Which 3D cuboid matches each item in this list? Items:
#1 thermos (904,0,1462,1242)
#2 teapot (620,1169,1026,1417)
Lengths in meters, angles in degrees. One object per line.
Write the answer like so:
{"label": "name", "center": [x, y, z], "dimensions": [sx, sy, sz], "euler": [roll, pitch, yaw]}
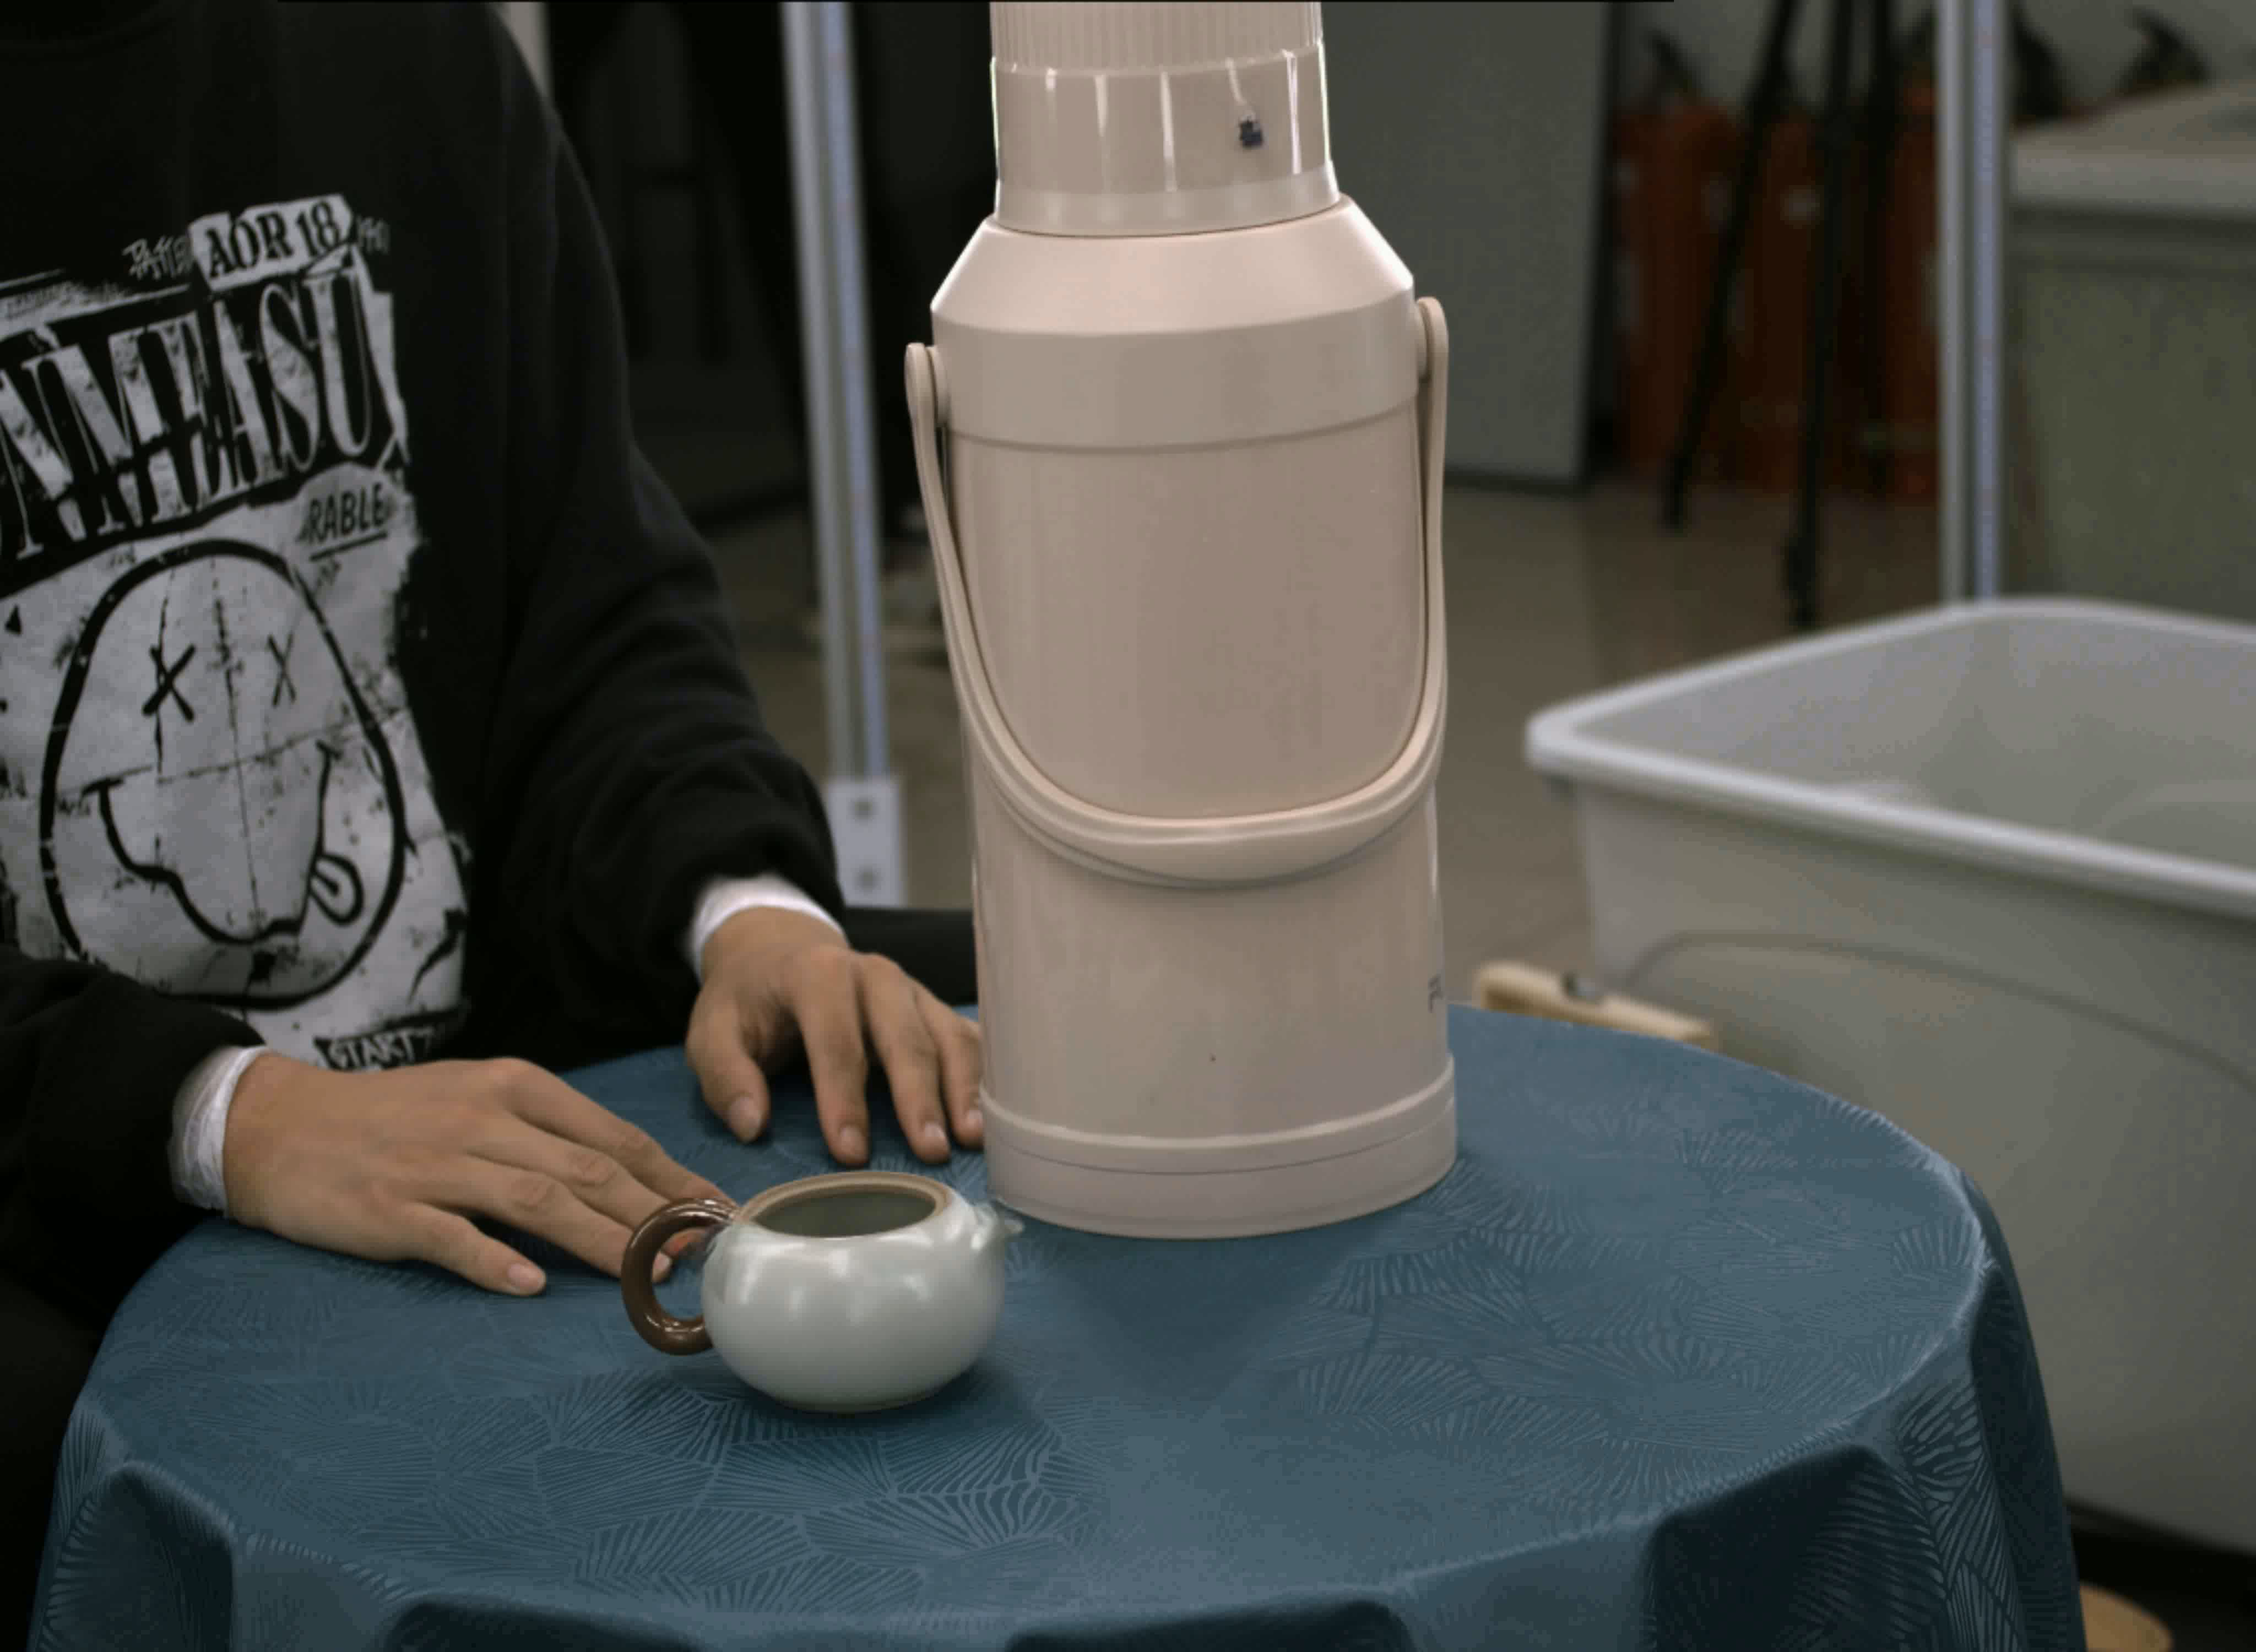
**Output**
{"label": "thermos", "center": [0.018, -0.084, 1.765], "dimensions": [0.172, 0.410, 0.208], "euler": [-8, 14, -9]}
{"label": "teapot", "center": [-0.090, 0.139, 1.609], "dimensions": [0.127, 0.060, 0.091], "euler": [0, 17, 13]}
